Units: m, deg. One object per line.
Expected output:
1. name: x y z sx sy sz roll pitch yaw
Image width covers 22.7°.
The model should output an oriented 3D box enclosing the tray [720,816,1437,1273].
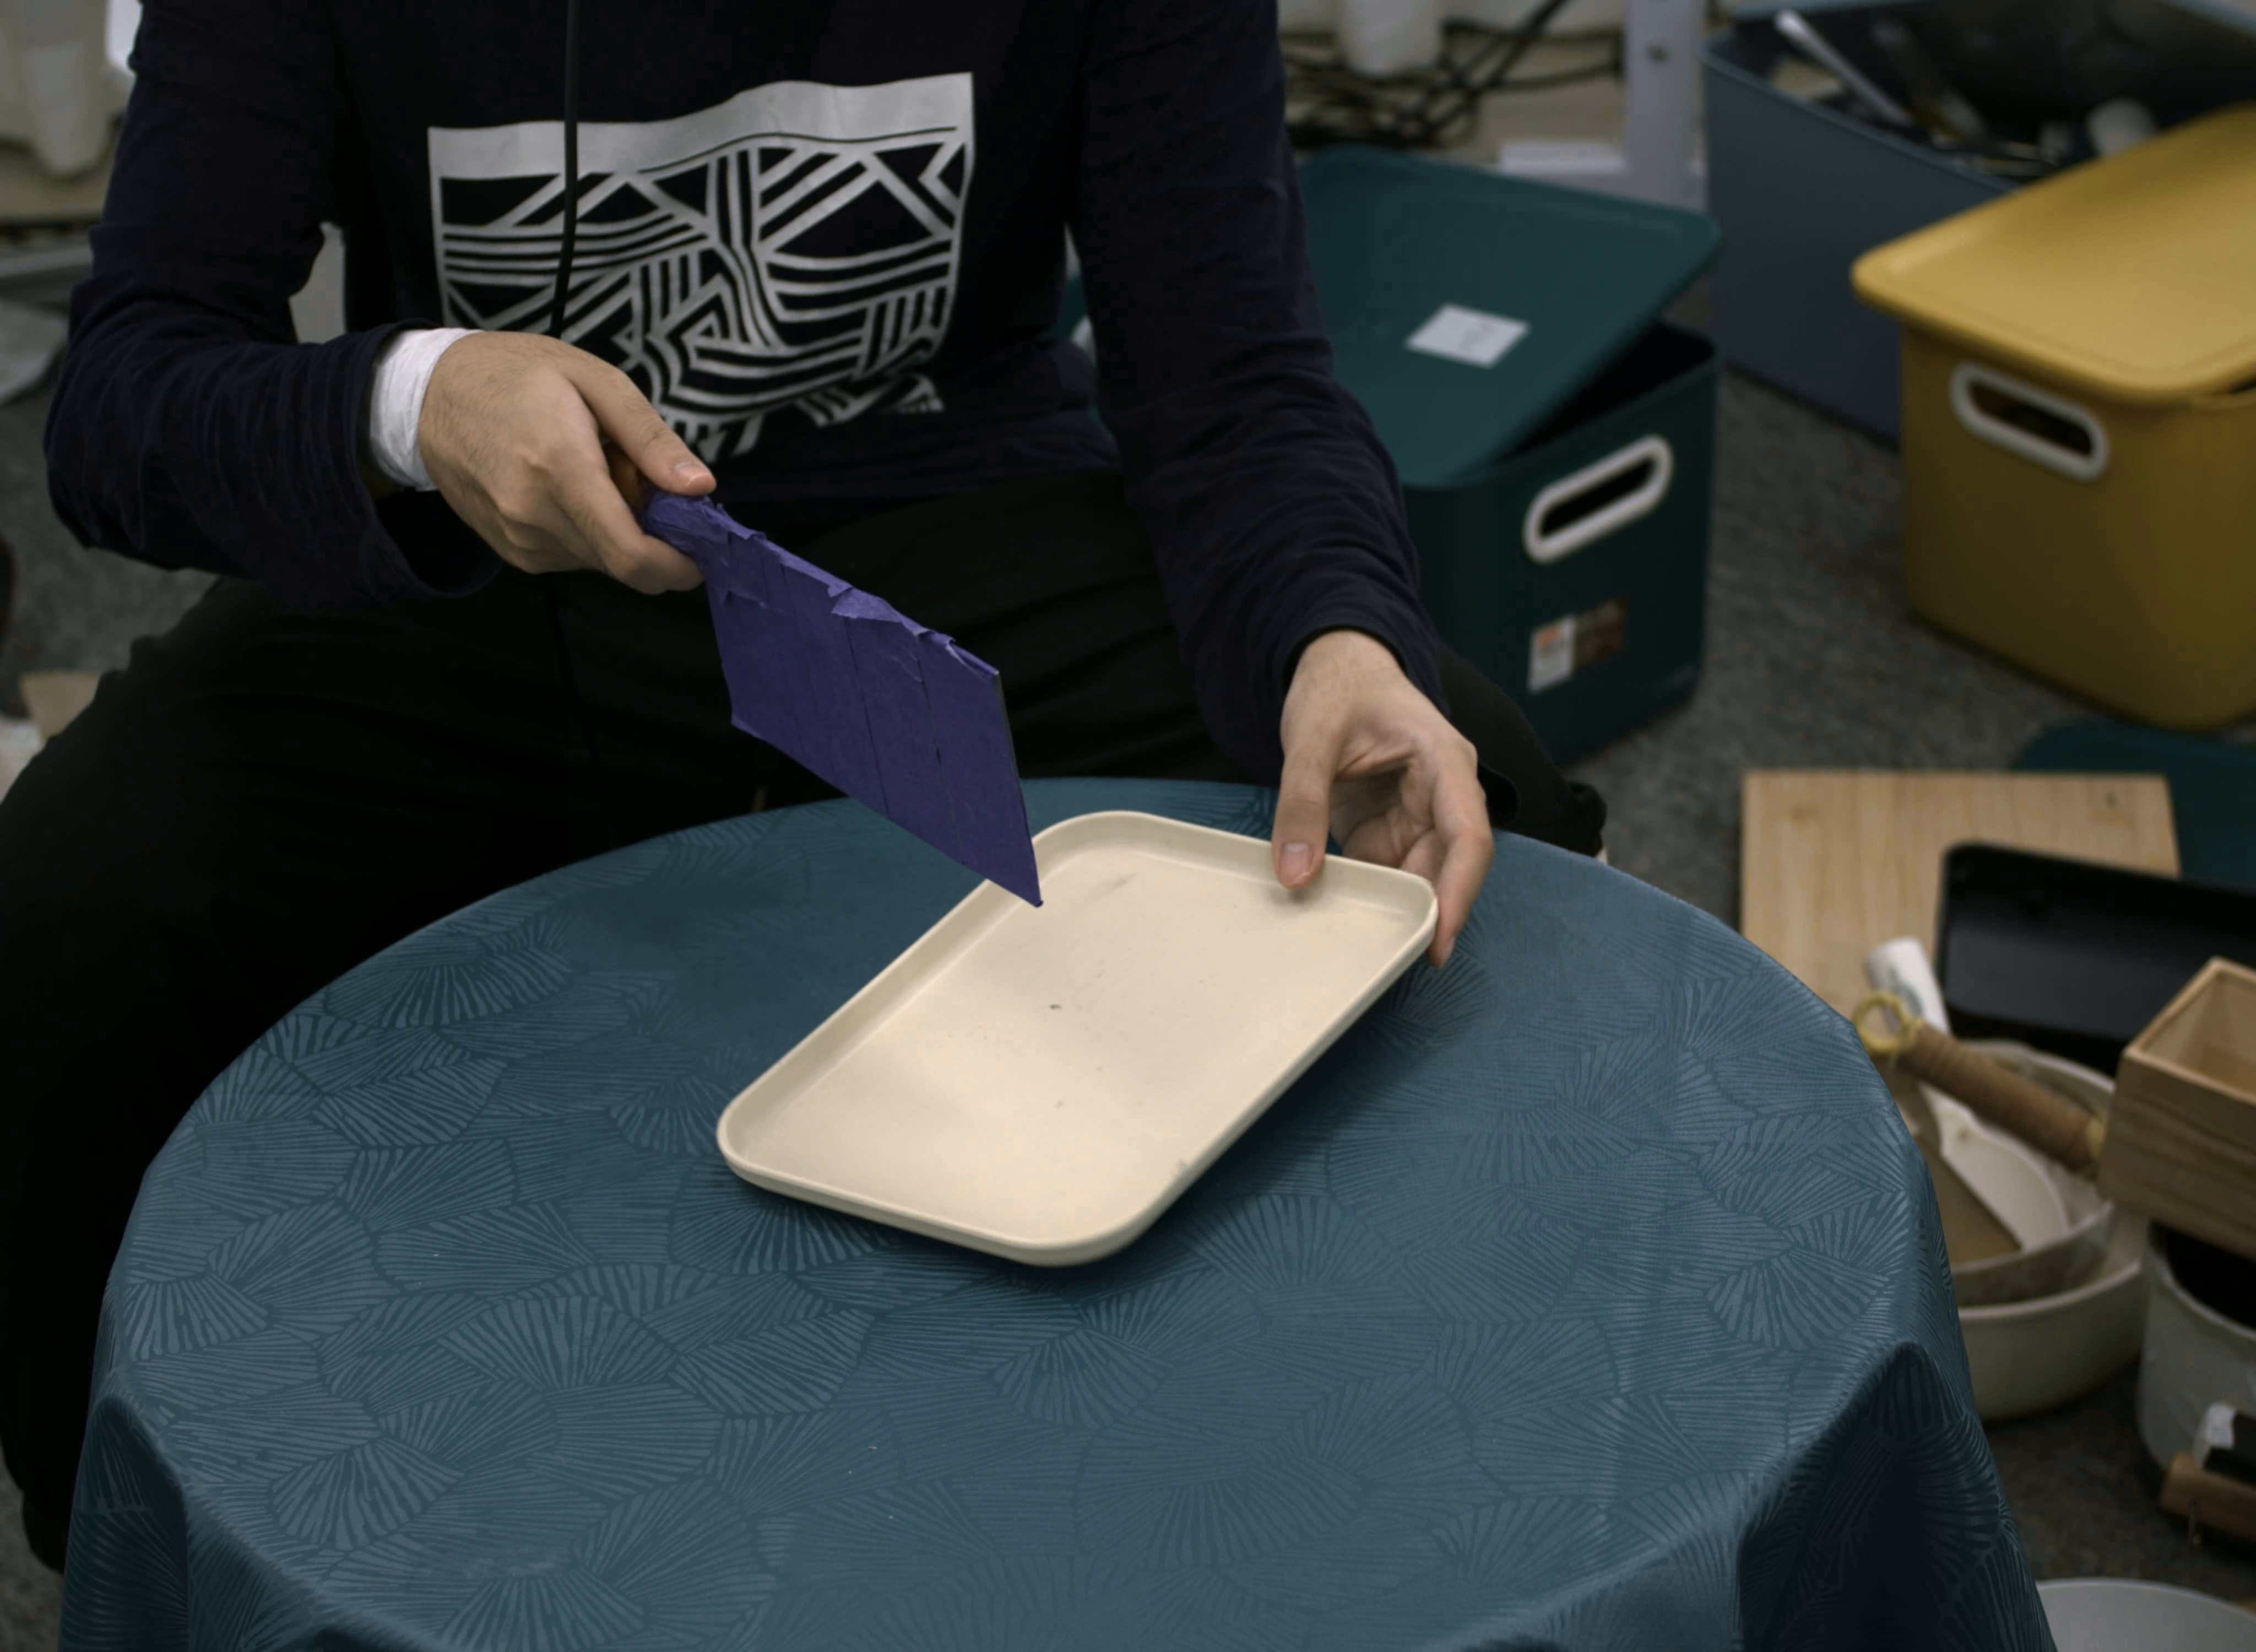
1. tray: -0.014 0.073 1.914 0.170 0.017 0.244 12 36 31

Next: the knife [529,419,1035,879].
1. knife: -0.122 -0.060 1.927 0.032 0.103 0.316 -21 28 -24
